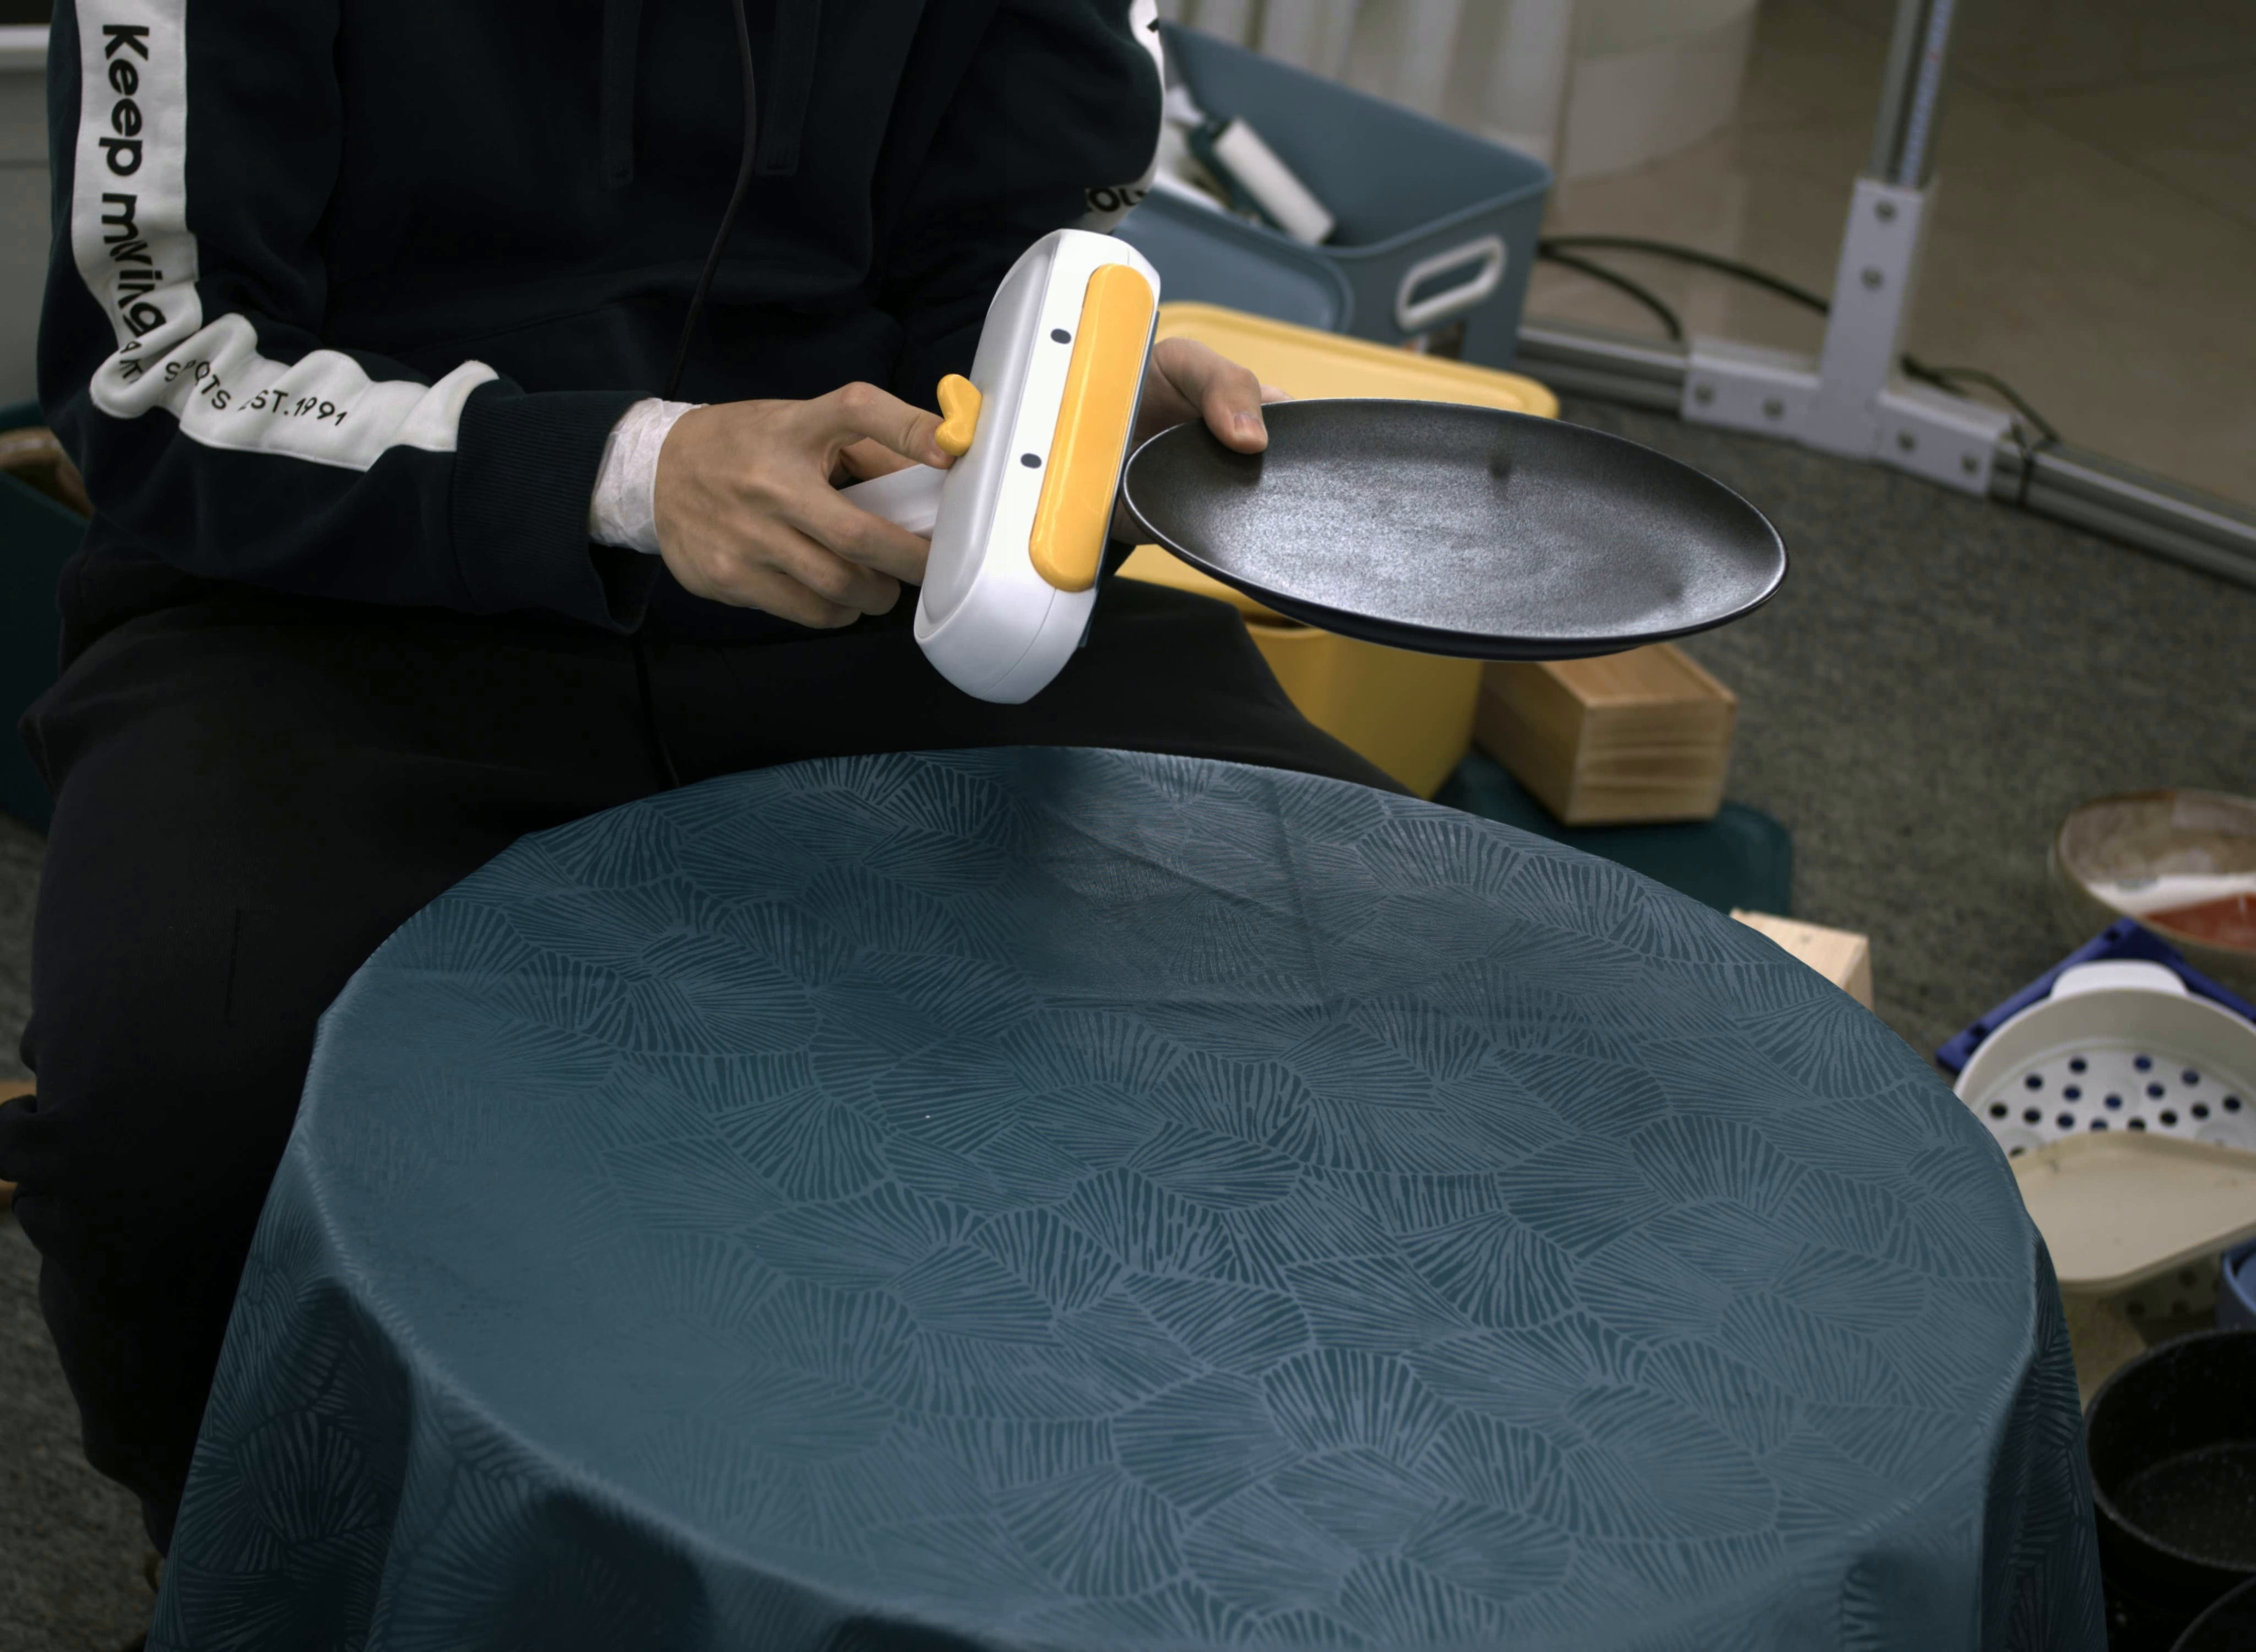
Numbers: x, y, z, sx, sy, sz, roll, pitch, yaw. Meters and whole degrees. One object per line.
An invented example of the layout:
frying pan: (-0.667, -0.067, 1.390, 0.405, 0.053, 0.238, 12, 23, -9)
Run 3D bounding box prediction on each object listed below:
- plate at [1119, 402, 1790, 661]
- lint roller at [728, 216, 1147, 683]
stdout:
plate: (0.116, -0.103, 1.922, 0.243, 0.023, 0.245, 5, 22, -3)
lint roller: (-0.072, -0.117, 1.974, 0.073, 0.192, 0.194, 26, 50, -28)
